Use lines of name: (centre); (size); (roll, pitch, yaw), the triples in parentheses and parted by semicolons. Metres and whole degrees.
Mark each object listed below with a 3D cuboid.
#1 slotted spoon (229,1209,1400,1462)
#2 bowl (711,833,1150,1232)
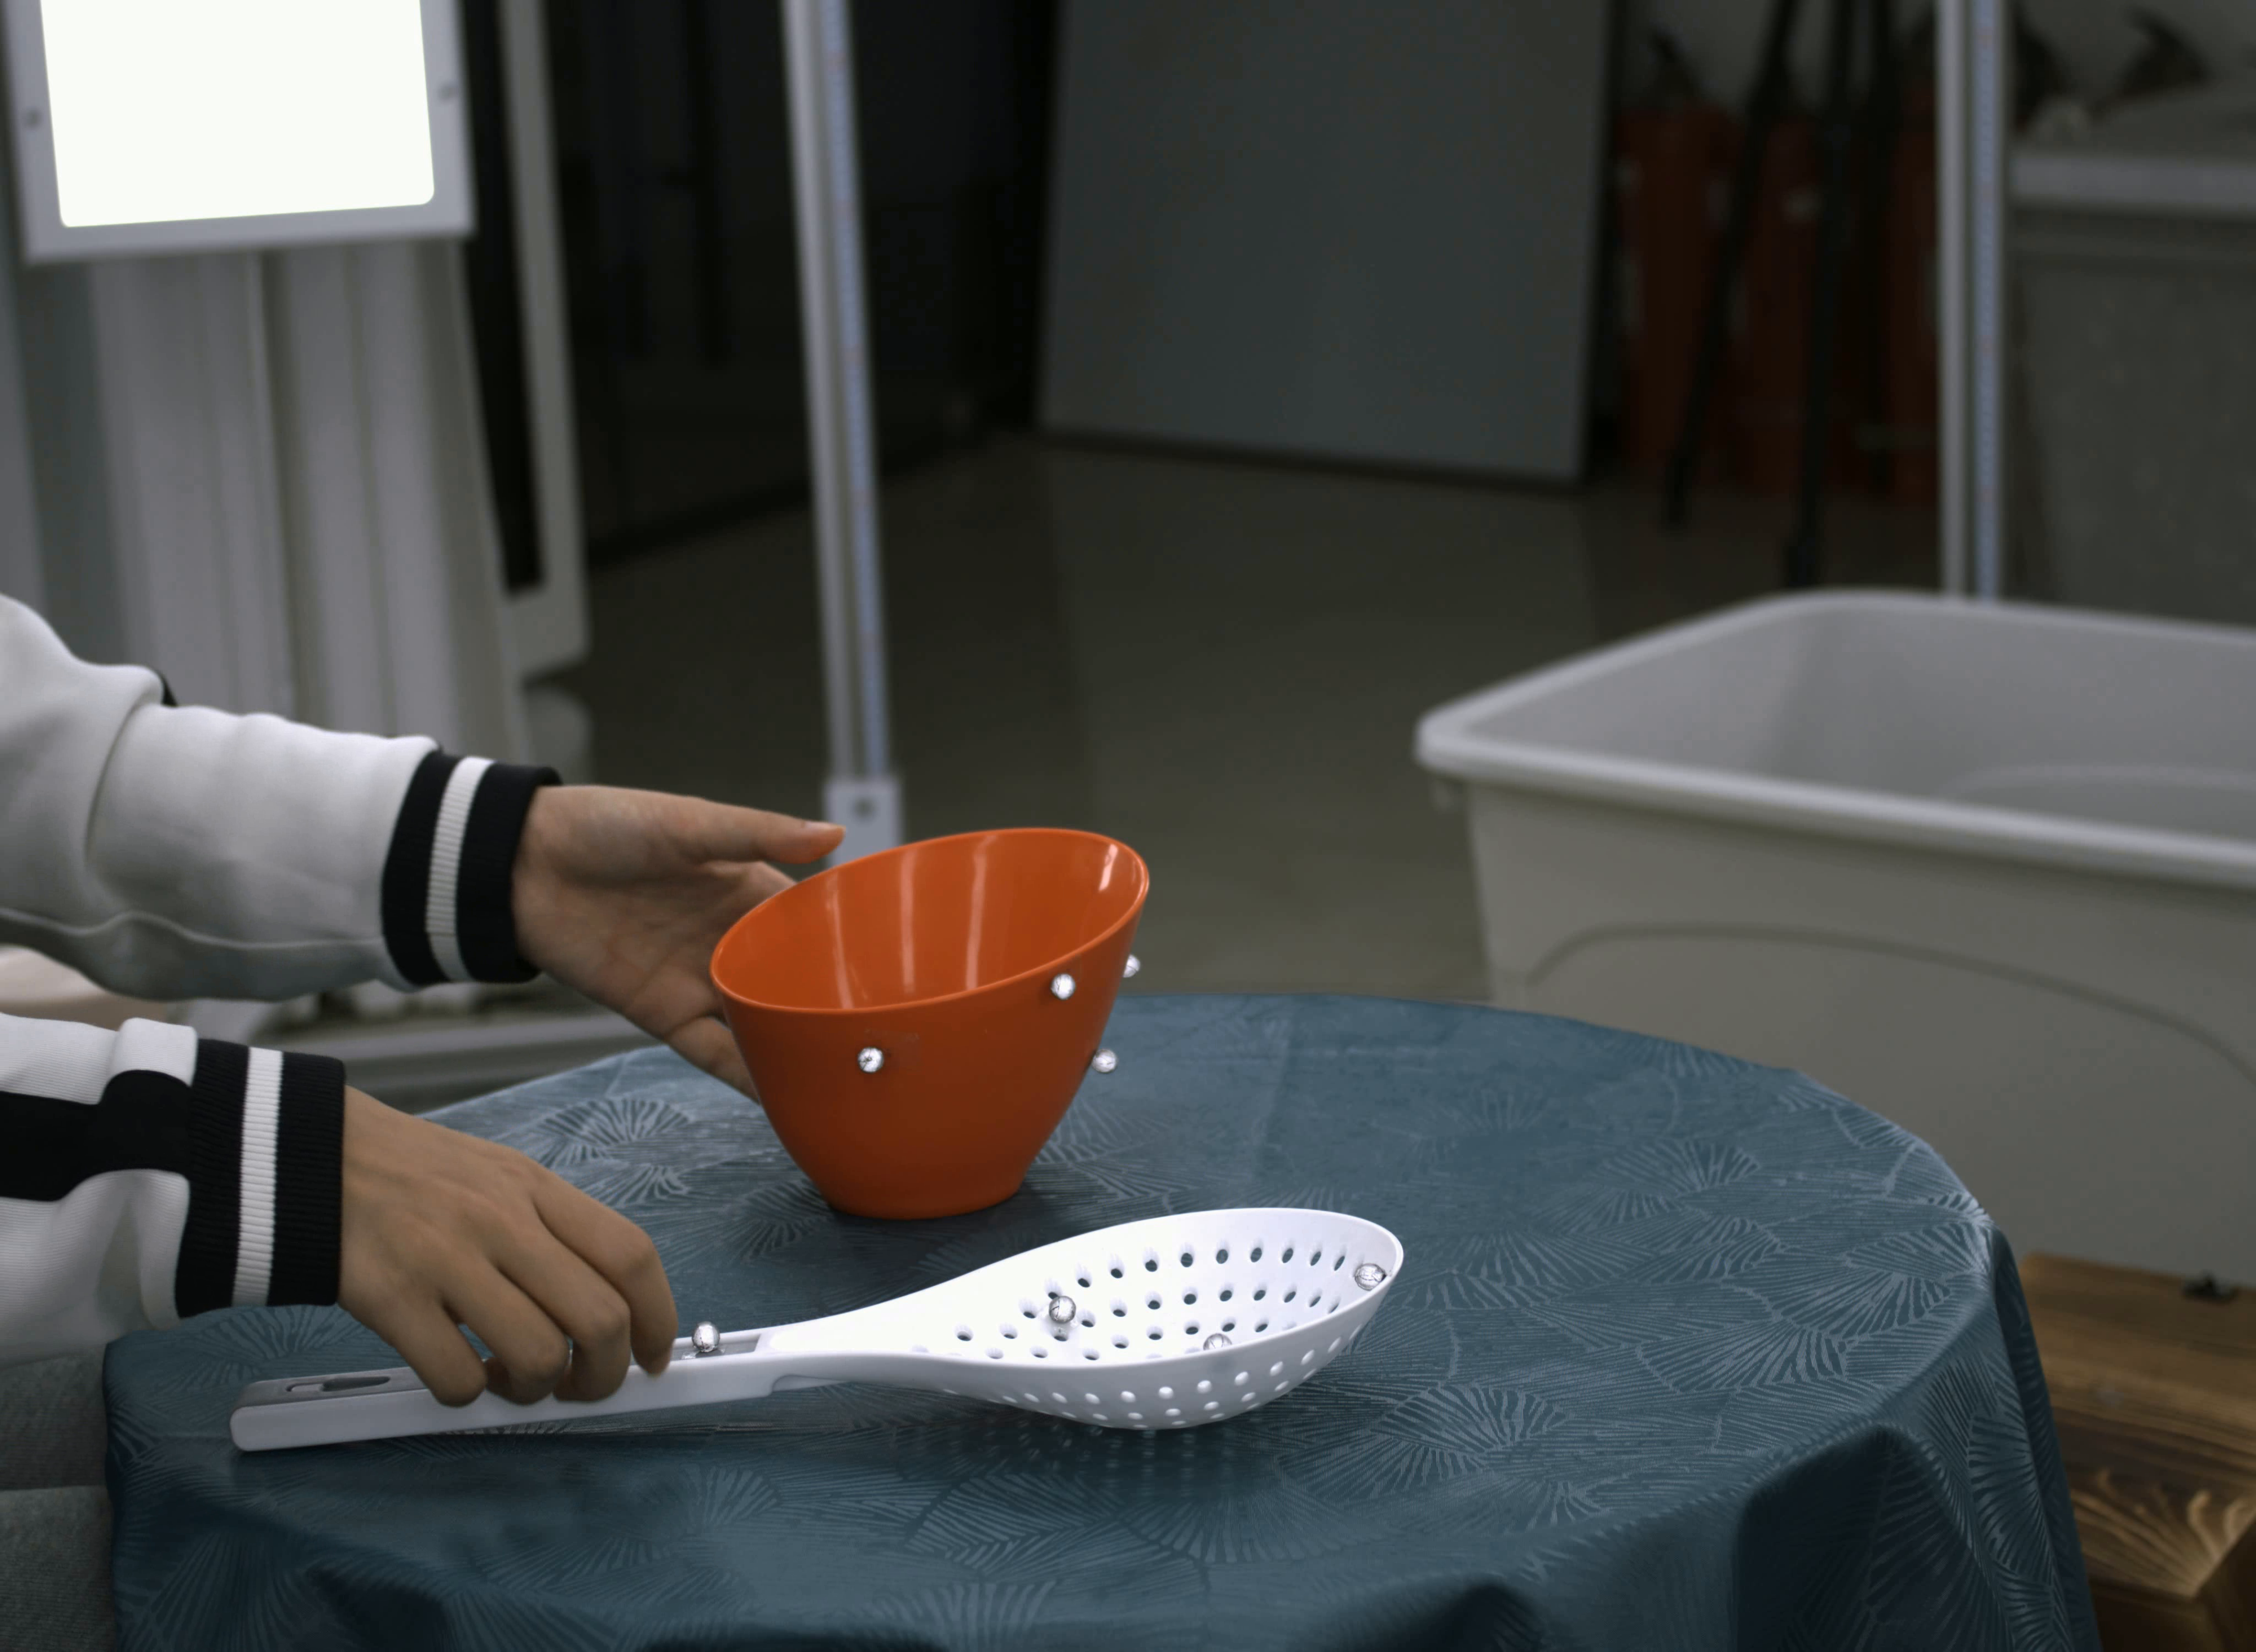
slotted spoon: (-0.092, 0.154, 1.570); (0.346, 0.046, 0.136); (-3, 12, 7)
bowl: (-0.062, 0.071, 1.780); (0.146, 0.106, 0.148); (-4, 15, 0)
